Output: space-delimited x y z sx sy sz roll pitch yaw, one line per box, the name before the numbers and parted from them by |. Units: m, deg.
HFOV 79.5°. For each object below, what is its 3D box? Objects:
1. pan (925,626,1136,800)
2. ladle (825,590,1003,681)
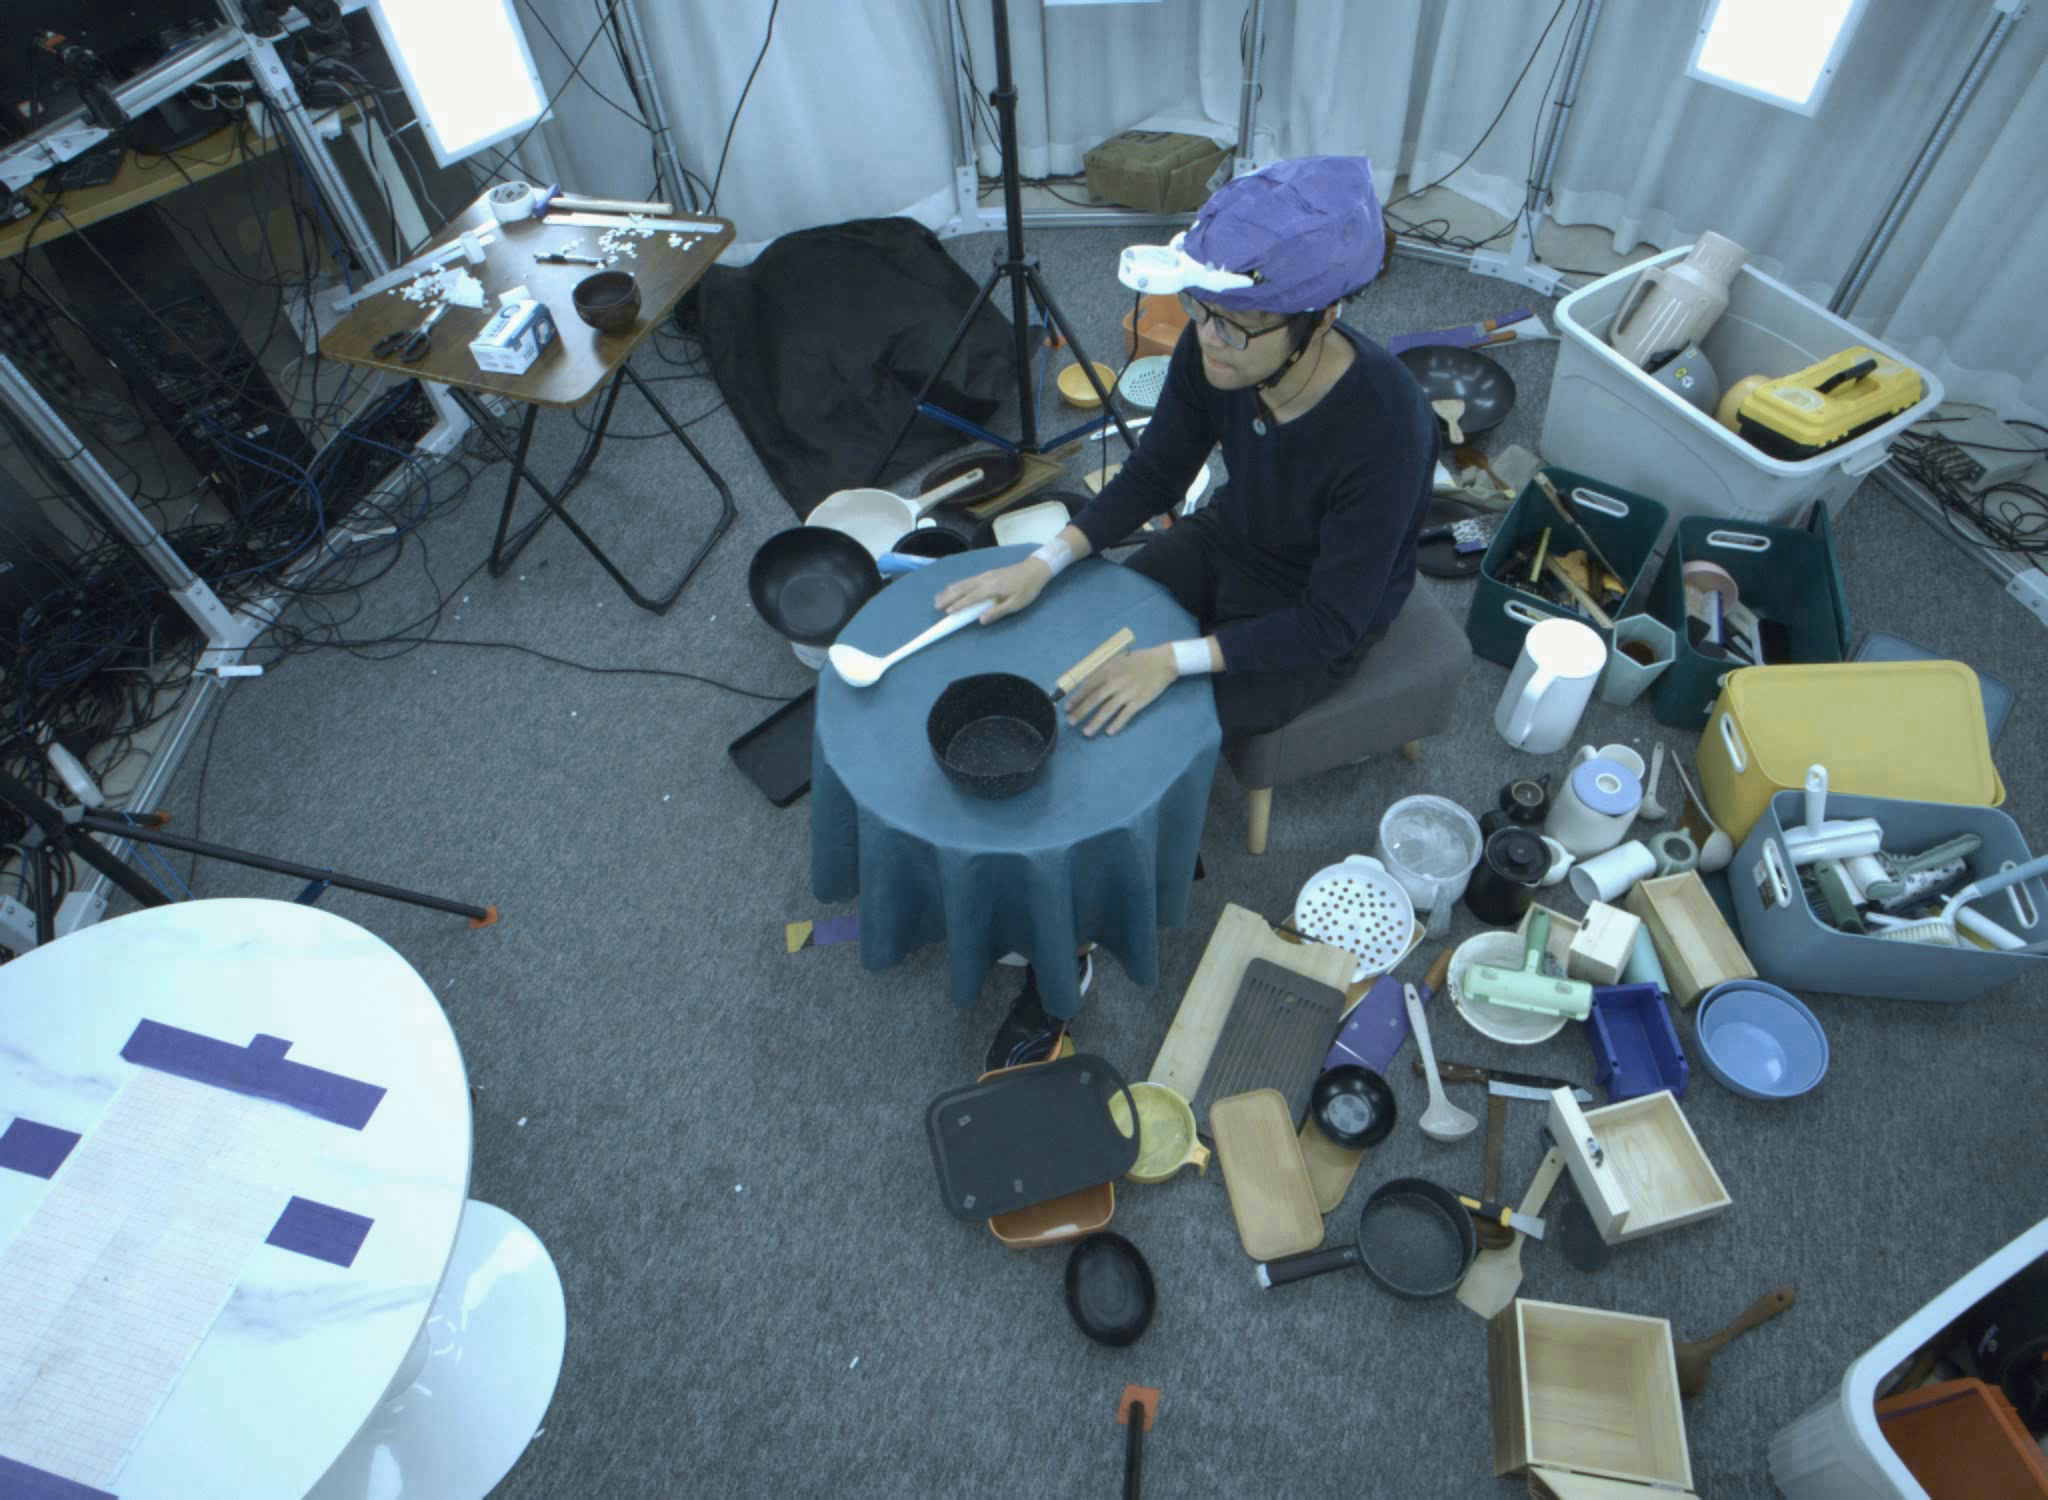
pan | 0.020 -0.061 1.763 0.345 0.109 0.203 -33 58 -18
ladle | -0.166 -0.186 1.886 0.295 0.071 0.088 -29 51 -18
